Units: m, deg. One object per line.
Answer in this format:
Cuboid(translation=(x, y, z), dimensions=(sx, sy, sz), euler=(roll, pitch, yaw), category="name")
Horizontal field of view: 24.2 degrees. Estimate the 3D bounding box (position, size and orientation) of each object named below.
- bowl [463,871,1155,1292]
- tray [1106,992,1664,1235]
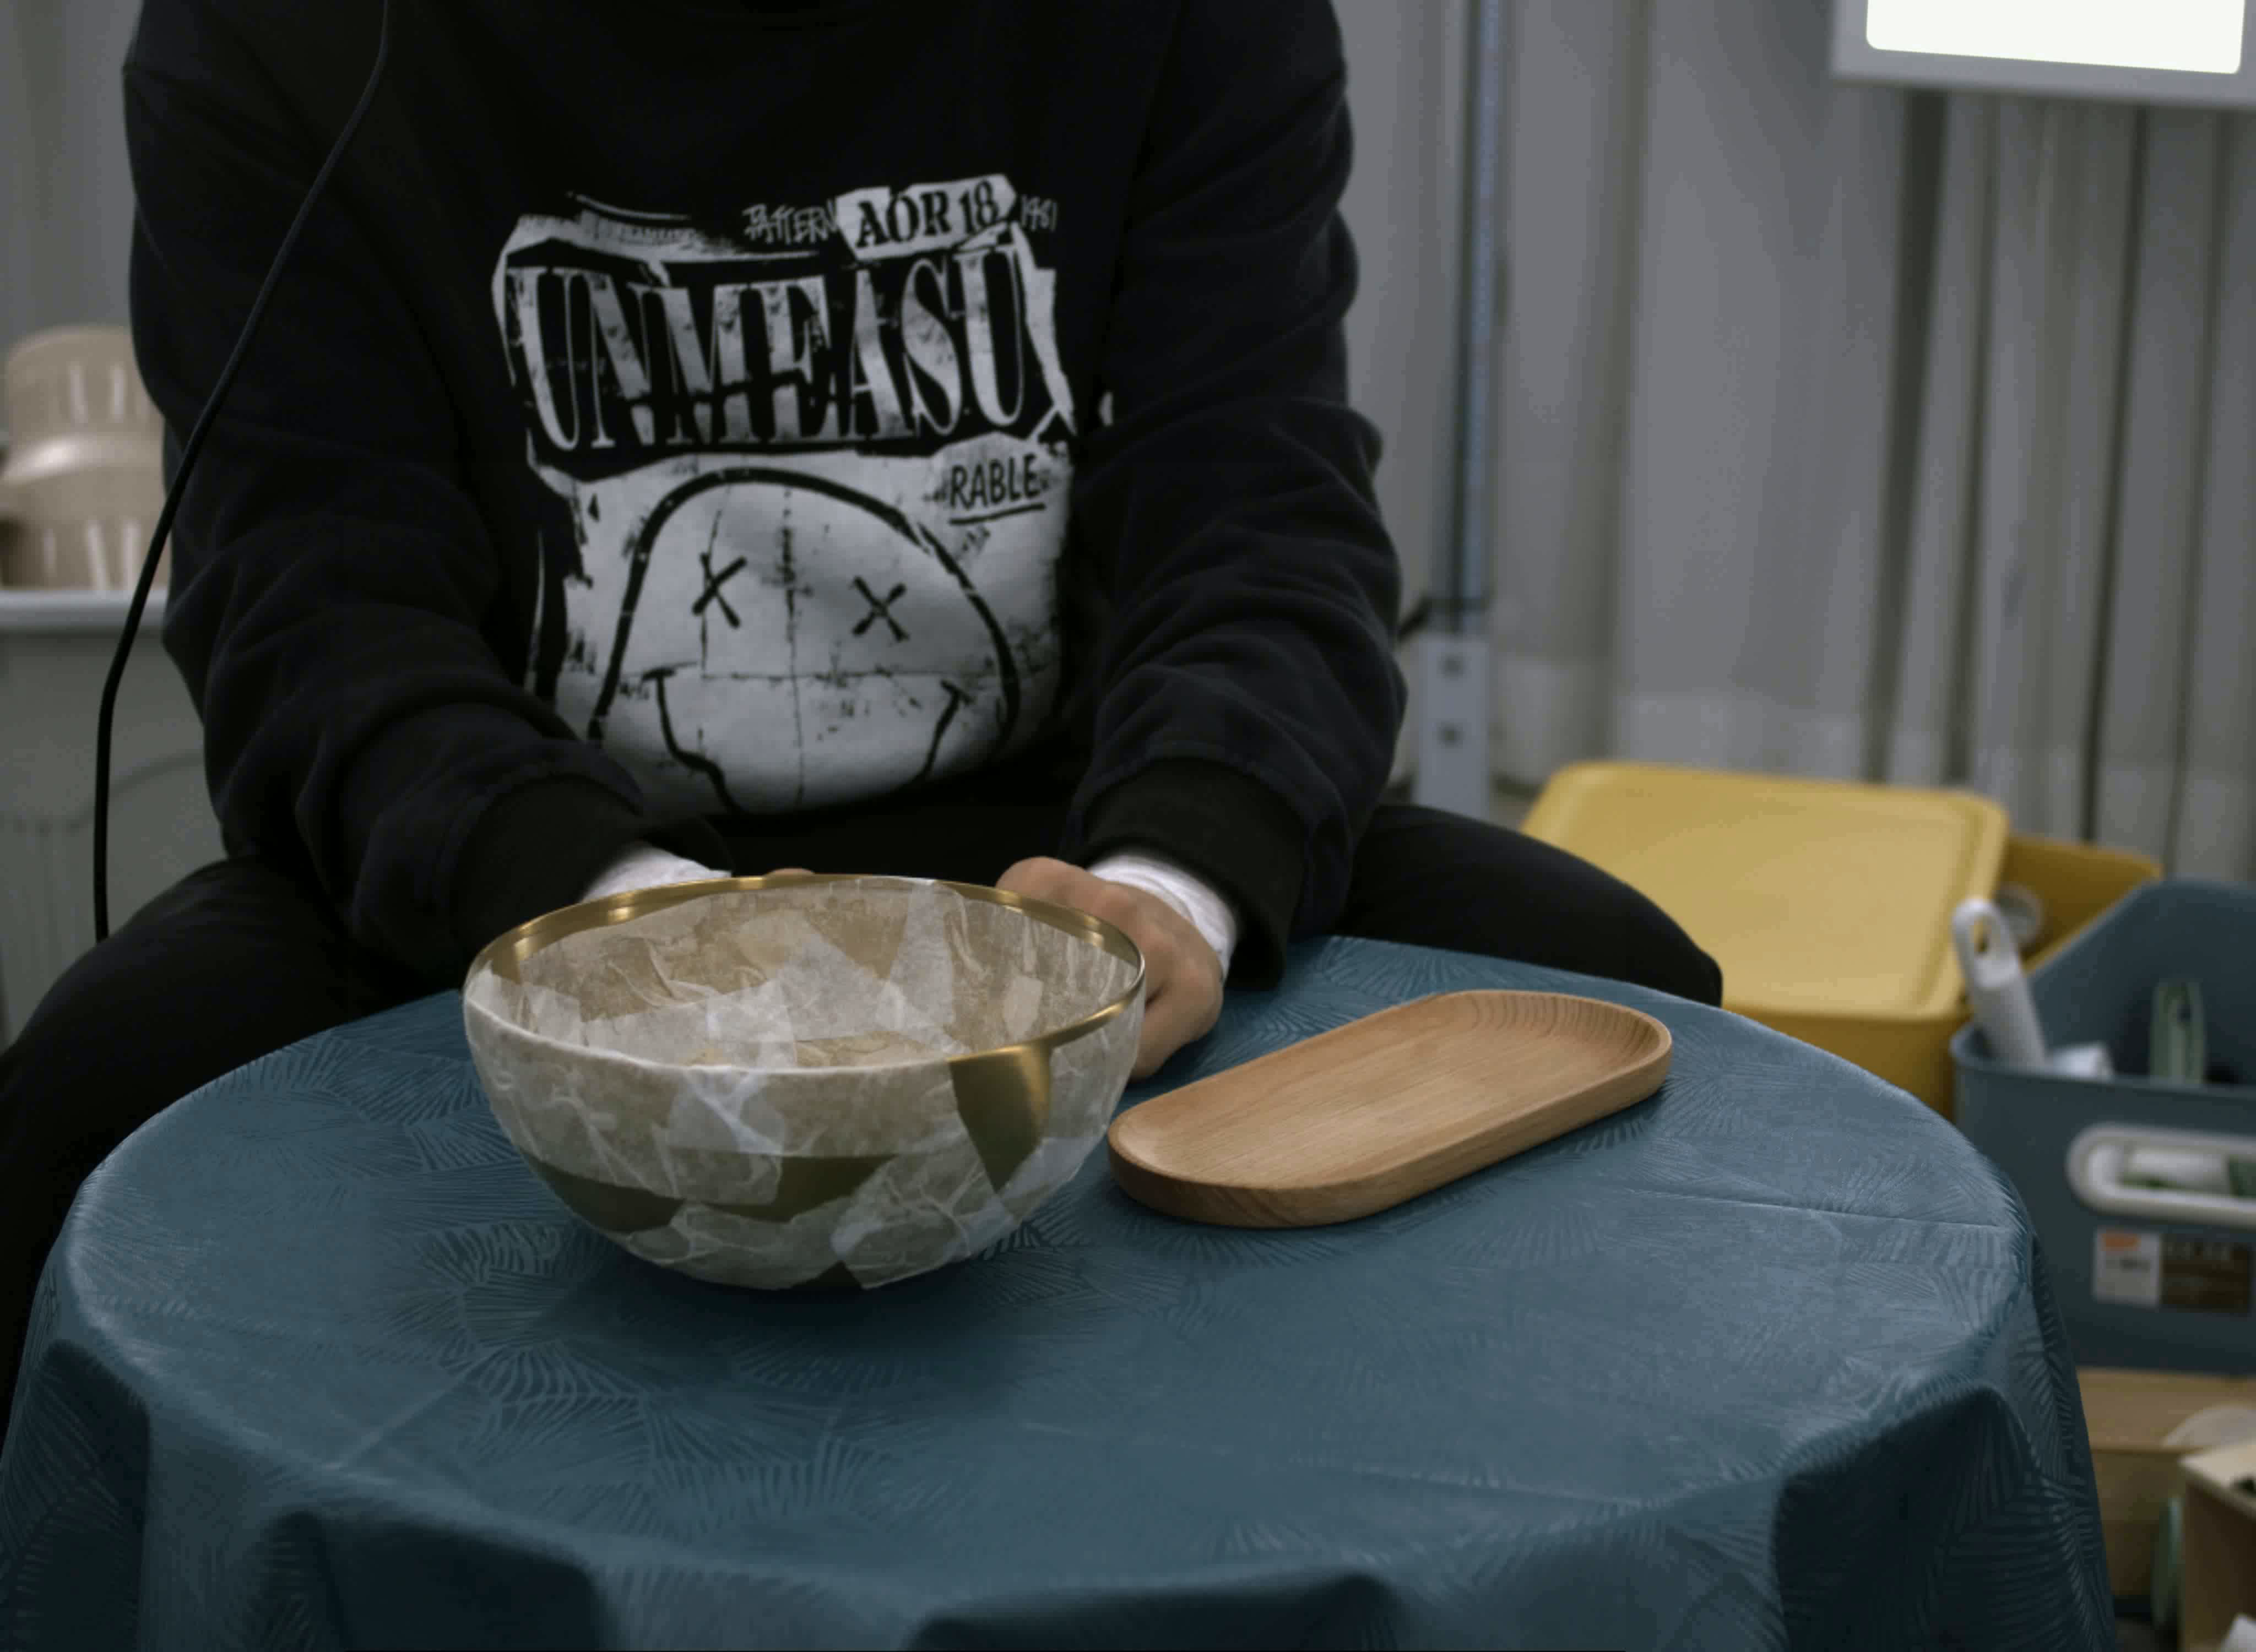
Cuboid(translation=(-0.091, 0.083, 1.558), dimensions=(0.214, 0.095, 0.213), euler=(0, 15, 1), category="bowl")
Cuboid(translation=(0.085, 0.090, 1.681), dimensions=(0.100, 0.020, 0.232), euler=(10, 20, 37), category="tray")
